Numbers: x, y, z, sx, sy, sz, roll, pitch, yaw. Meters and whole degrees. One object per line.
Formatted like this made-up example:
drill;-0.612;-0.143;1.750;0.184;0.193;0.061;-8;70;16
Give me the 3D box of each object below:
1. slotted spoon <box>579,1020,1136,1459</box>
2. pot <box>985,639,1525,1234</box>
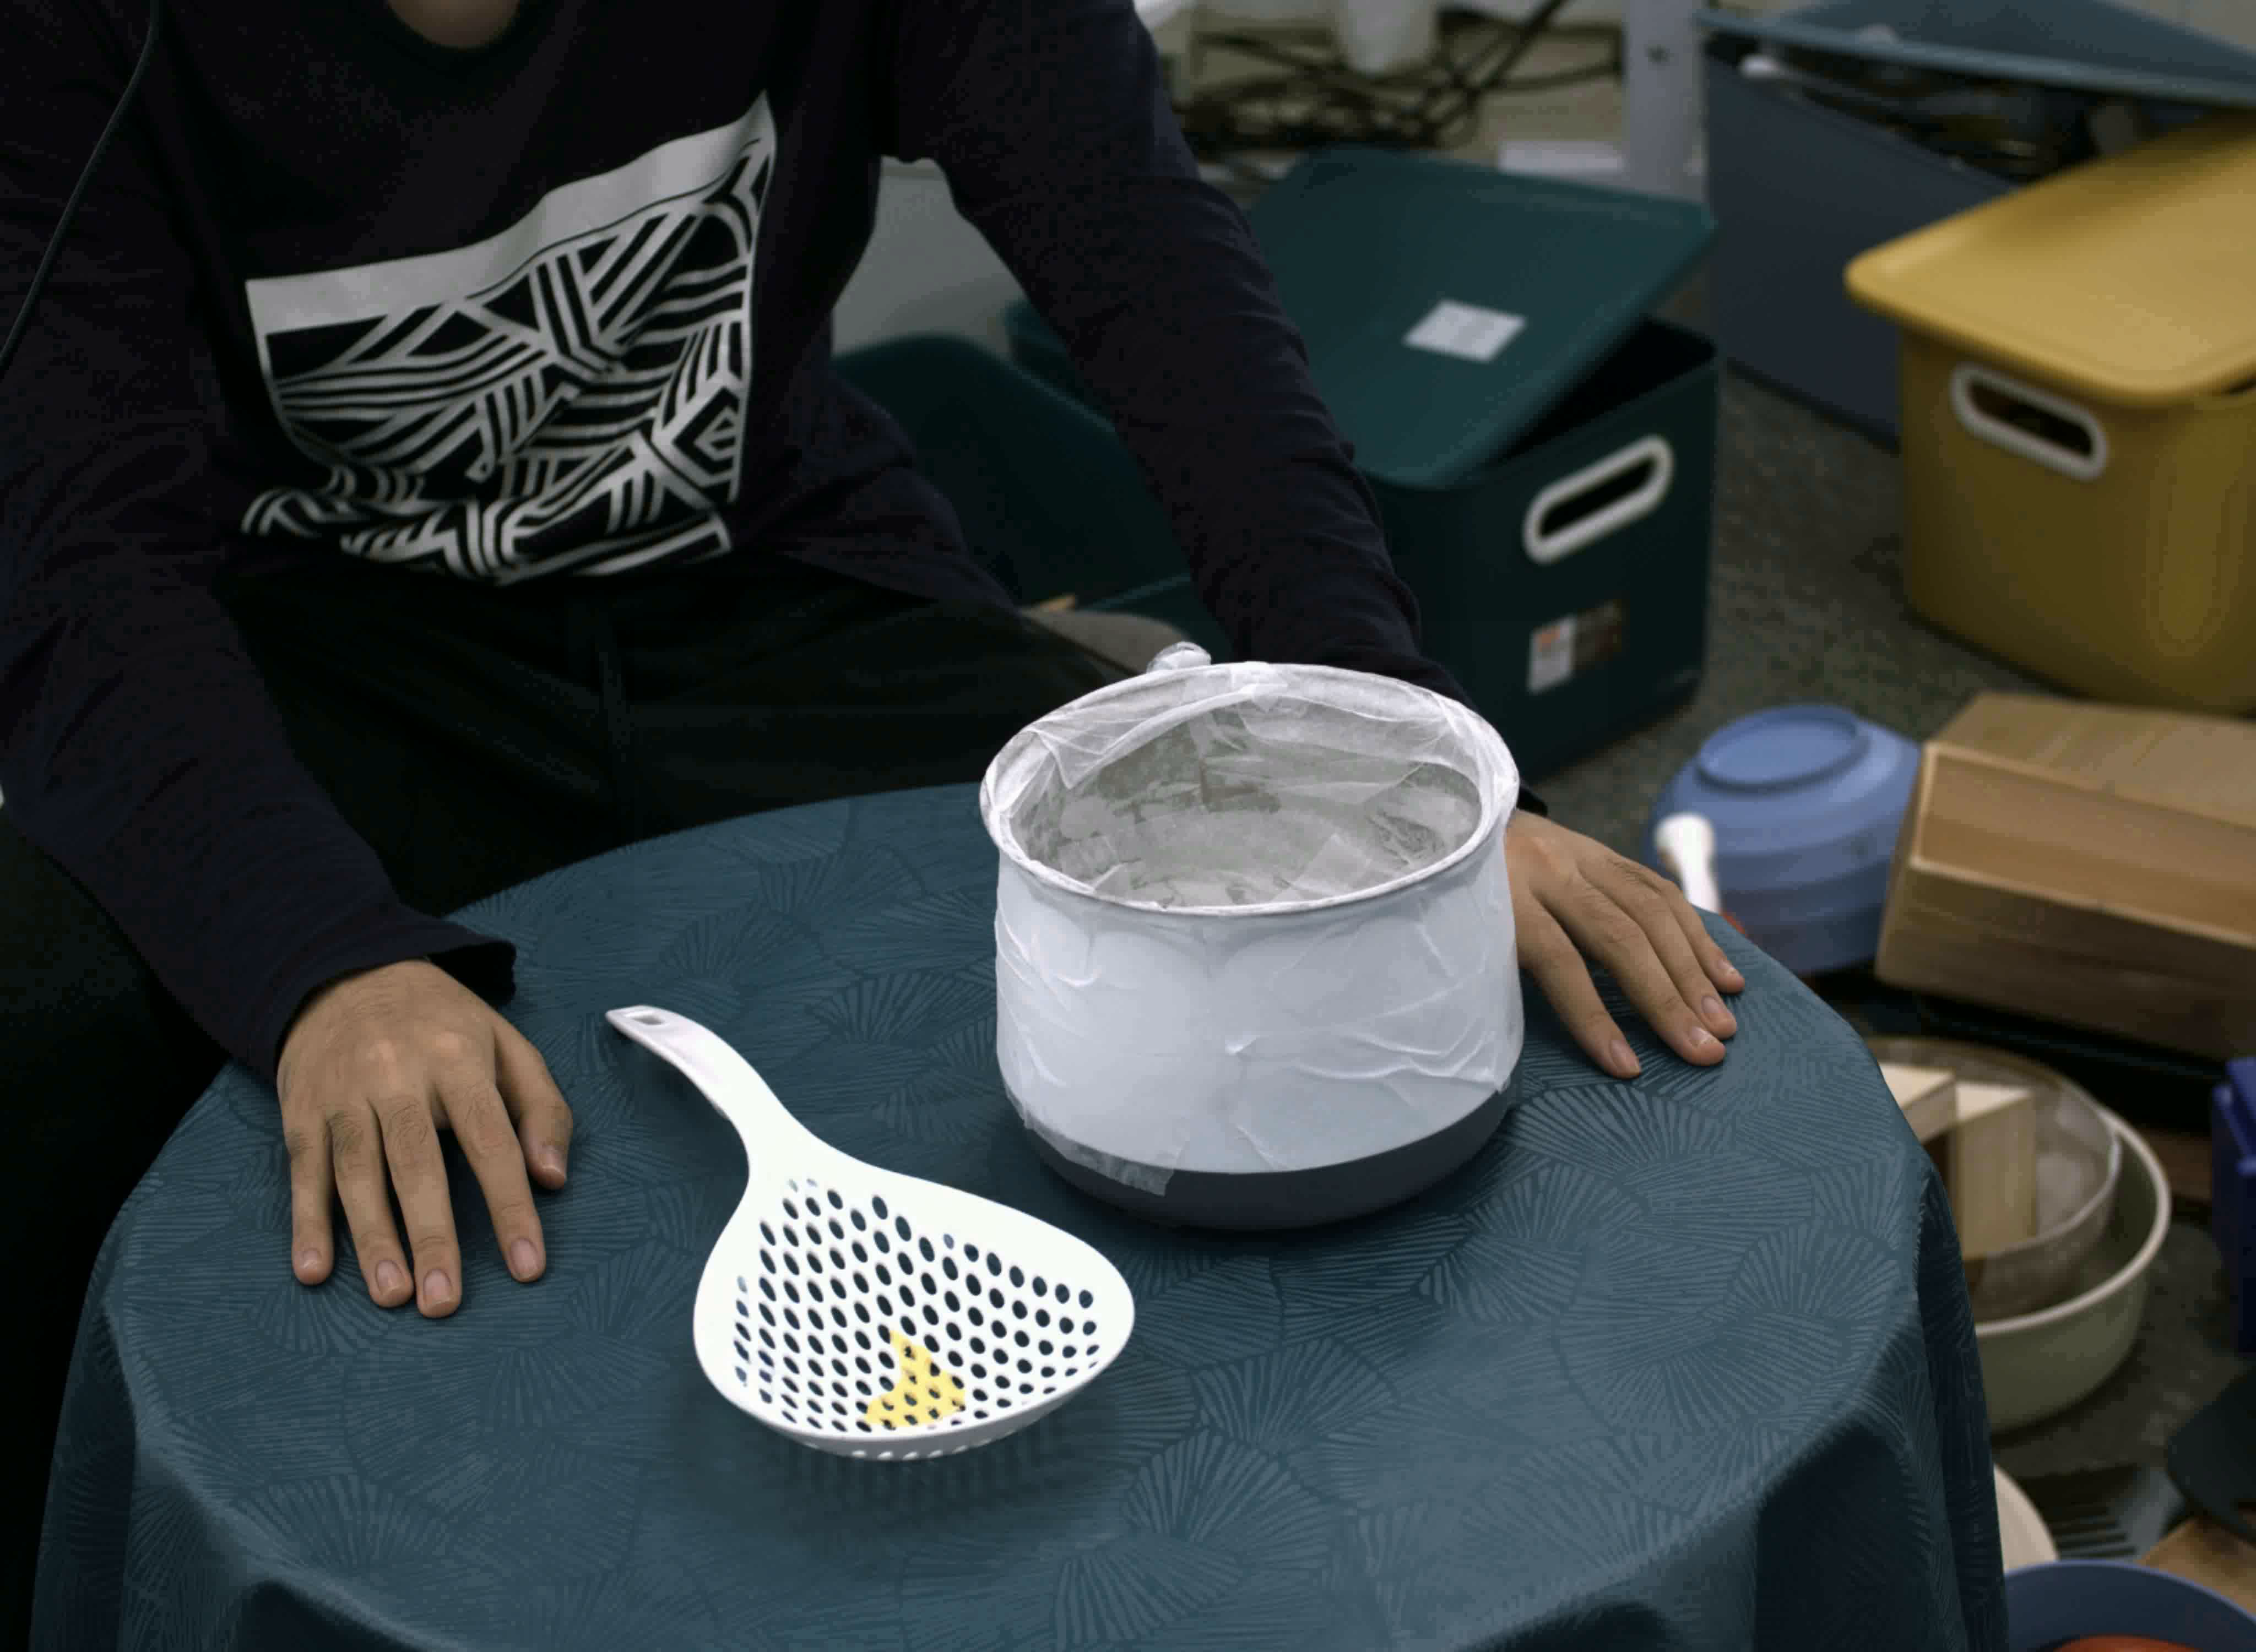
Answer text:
slotted spoon;-0.110;0.121;1.825;0.137;0.050;0.350;-14;30;-20
pot;0.036;0.030;1.890;0.178;0.135;0.236;-7;27;-12
